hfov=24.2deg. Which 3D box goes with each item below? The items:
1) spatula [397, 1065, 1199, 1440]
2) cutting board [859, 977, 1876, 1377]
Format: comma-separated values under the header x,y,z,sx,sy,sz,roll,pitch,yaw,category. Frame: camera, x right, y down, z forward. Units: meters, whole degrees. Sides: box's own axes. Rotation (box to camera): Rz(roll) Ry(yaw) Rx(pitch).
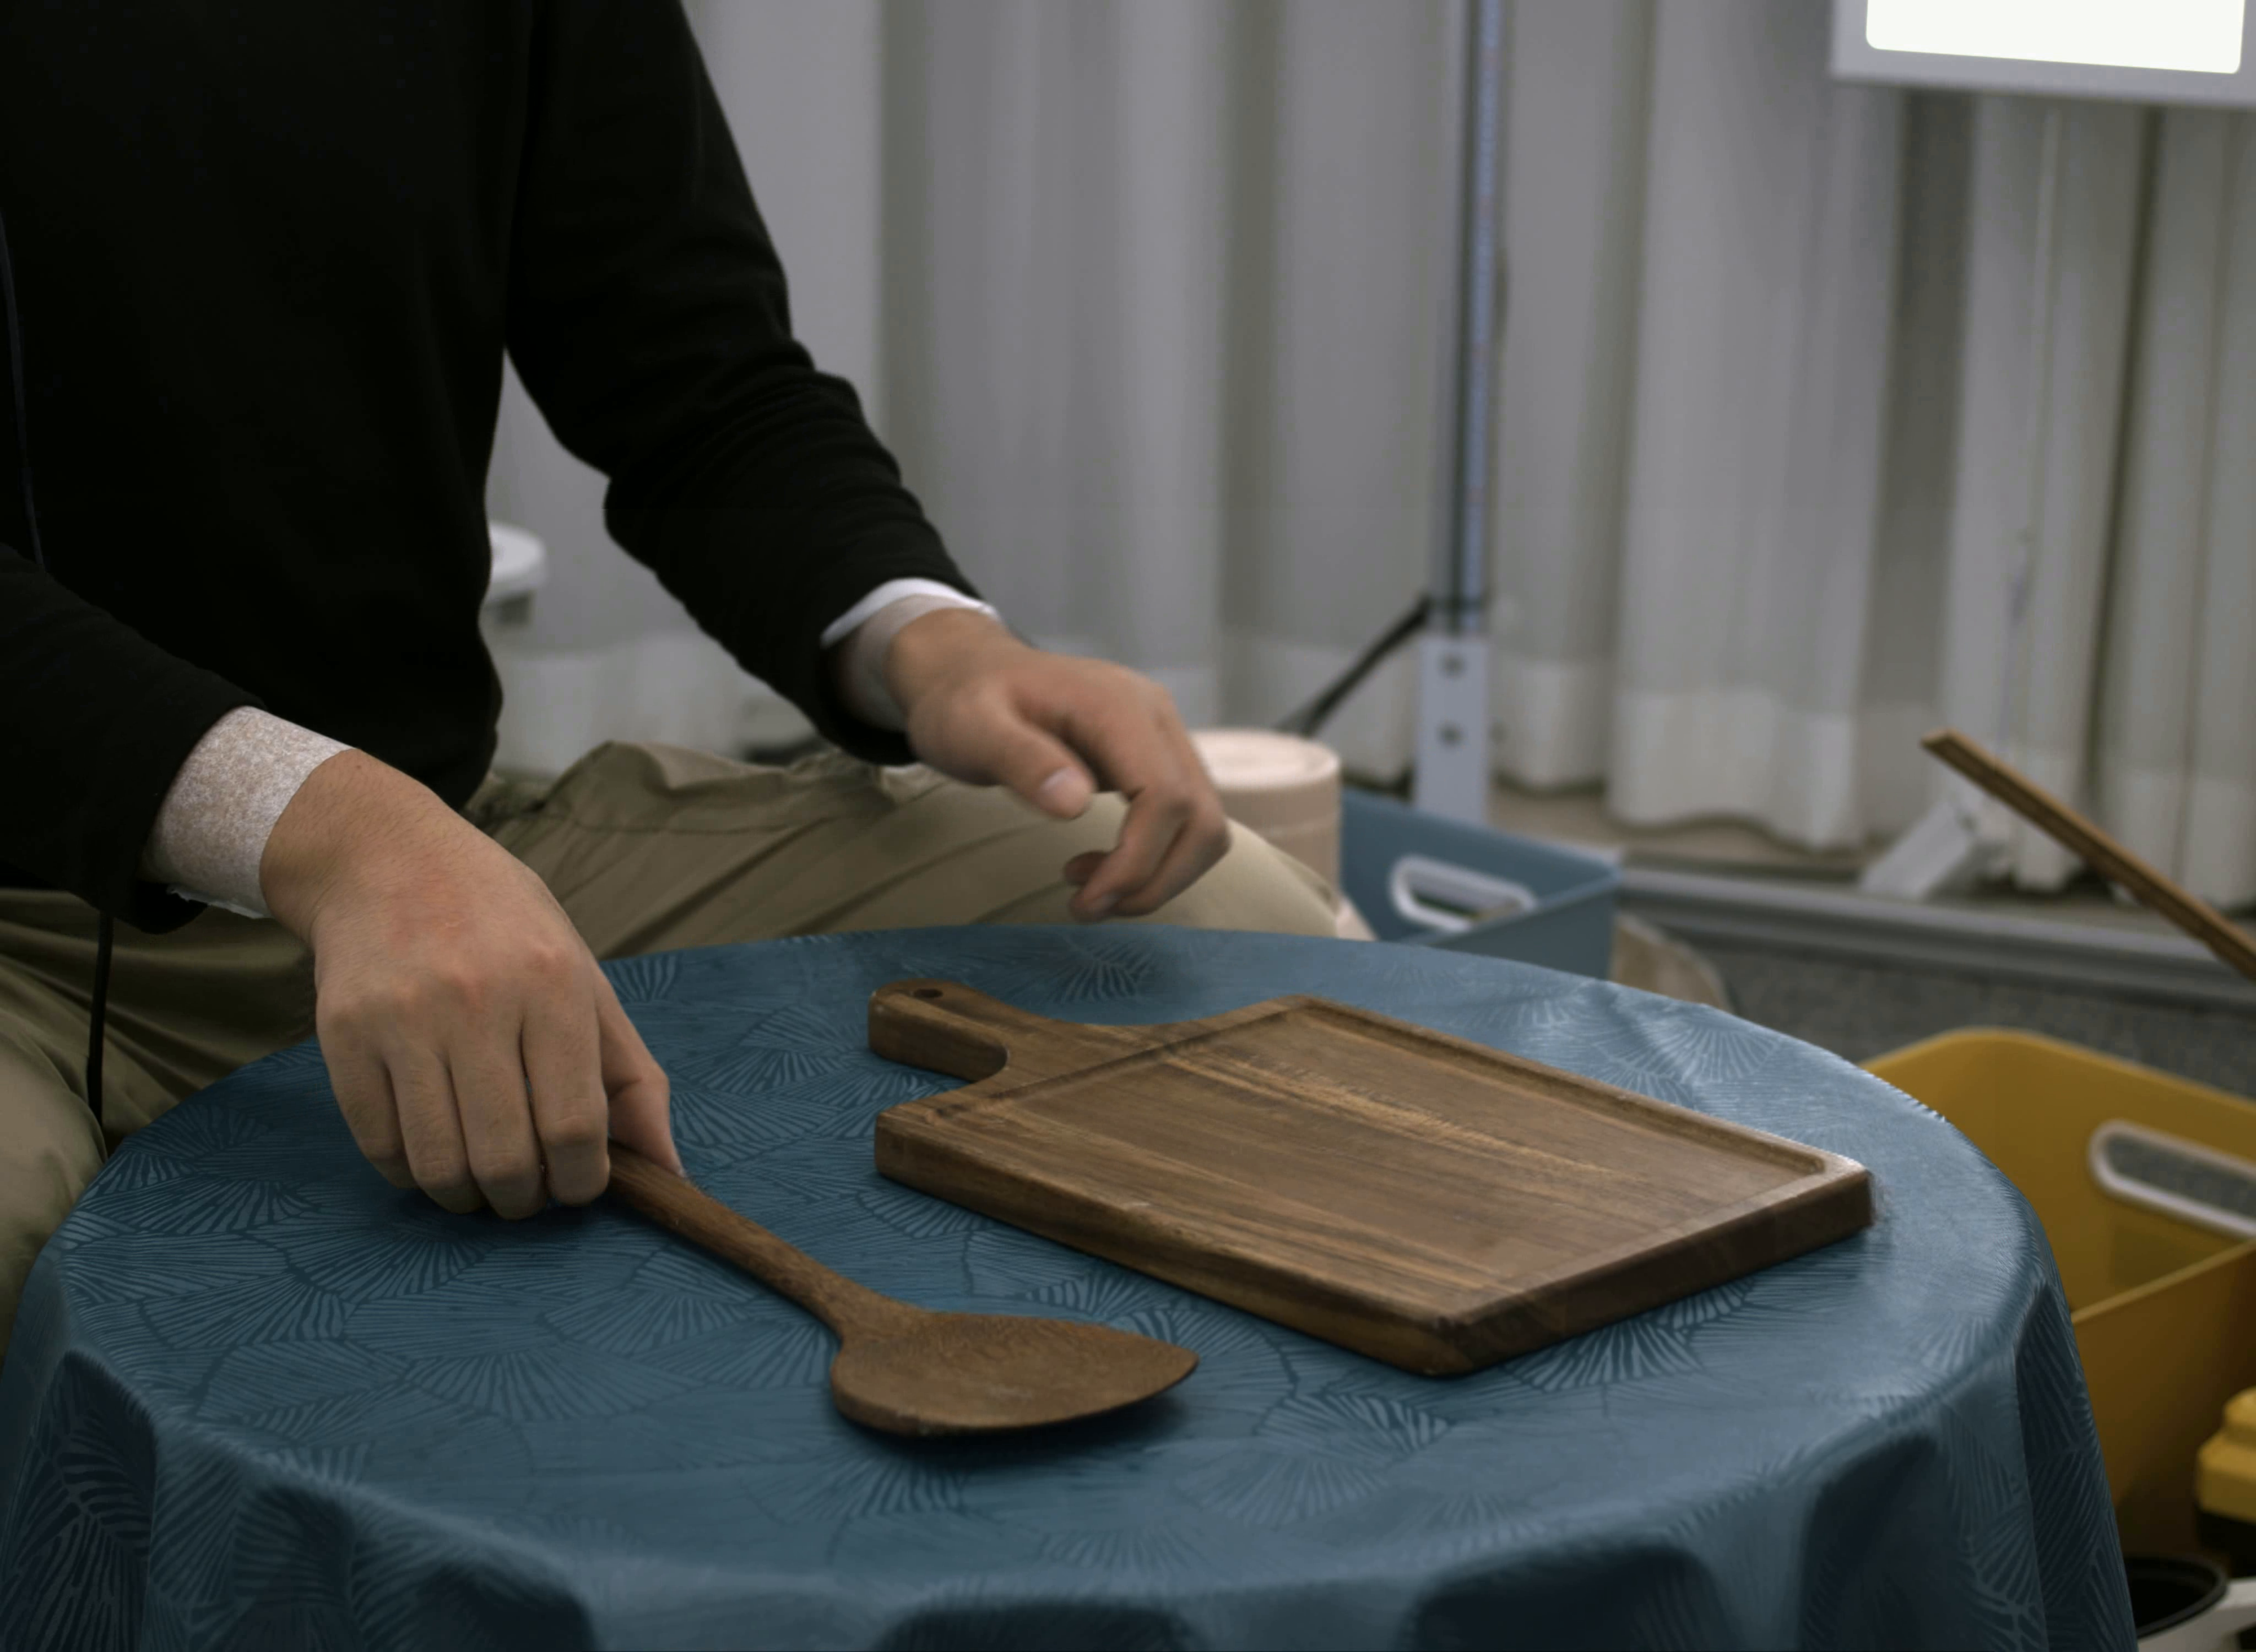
x,y,z,sx,sy,sz,roll,pitch,yaw,category
-0.120,0.120,1.560,0.096,0.016,0.381,-10,19,-35,spatula
0.040,0.095,1.646,0.202,0.023,0.347,-14,21,-43,cutting board
